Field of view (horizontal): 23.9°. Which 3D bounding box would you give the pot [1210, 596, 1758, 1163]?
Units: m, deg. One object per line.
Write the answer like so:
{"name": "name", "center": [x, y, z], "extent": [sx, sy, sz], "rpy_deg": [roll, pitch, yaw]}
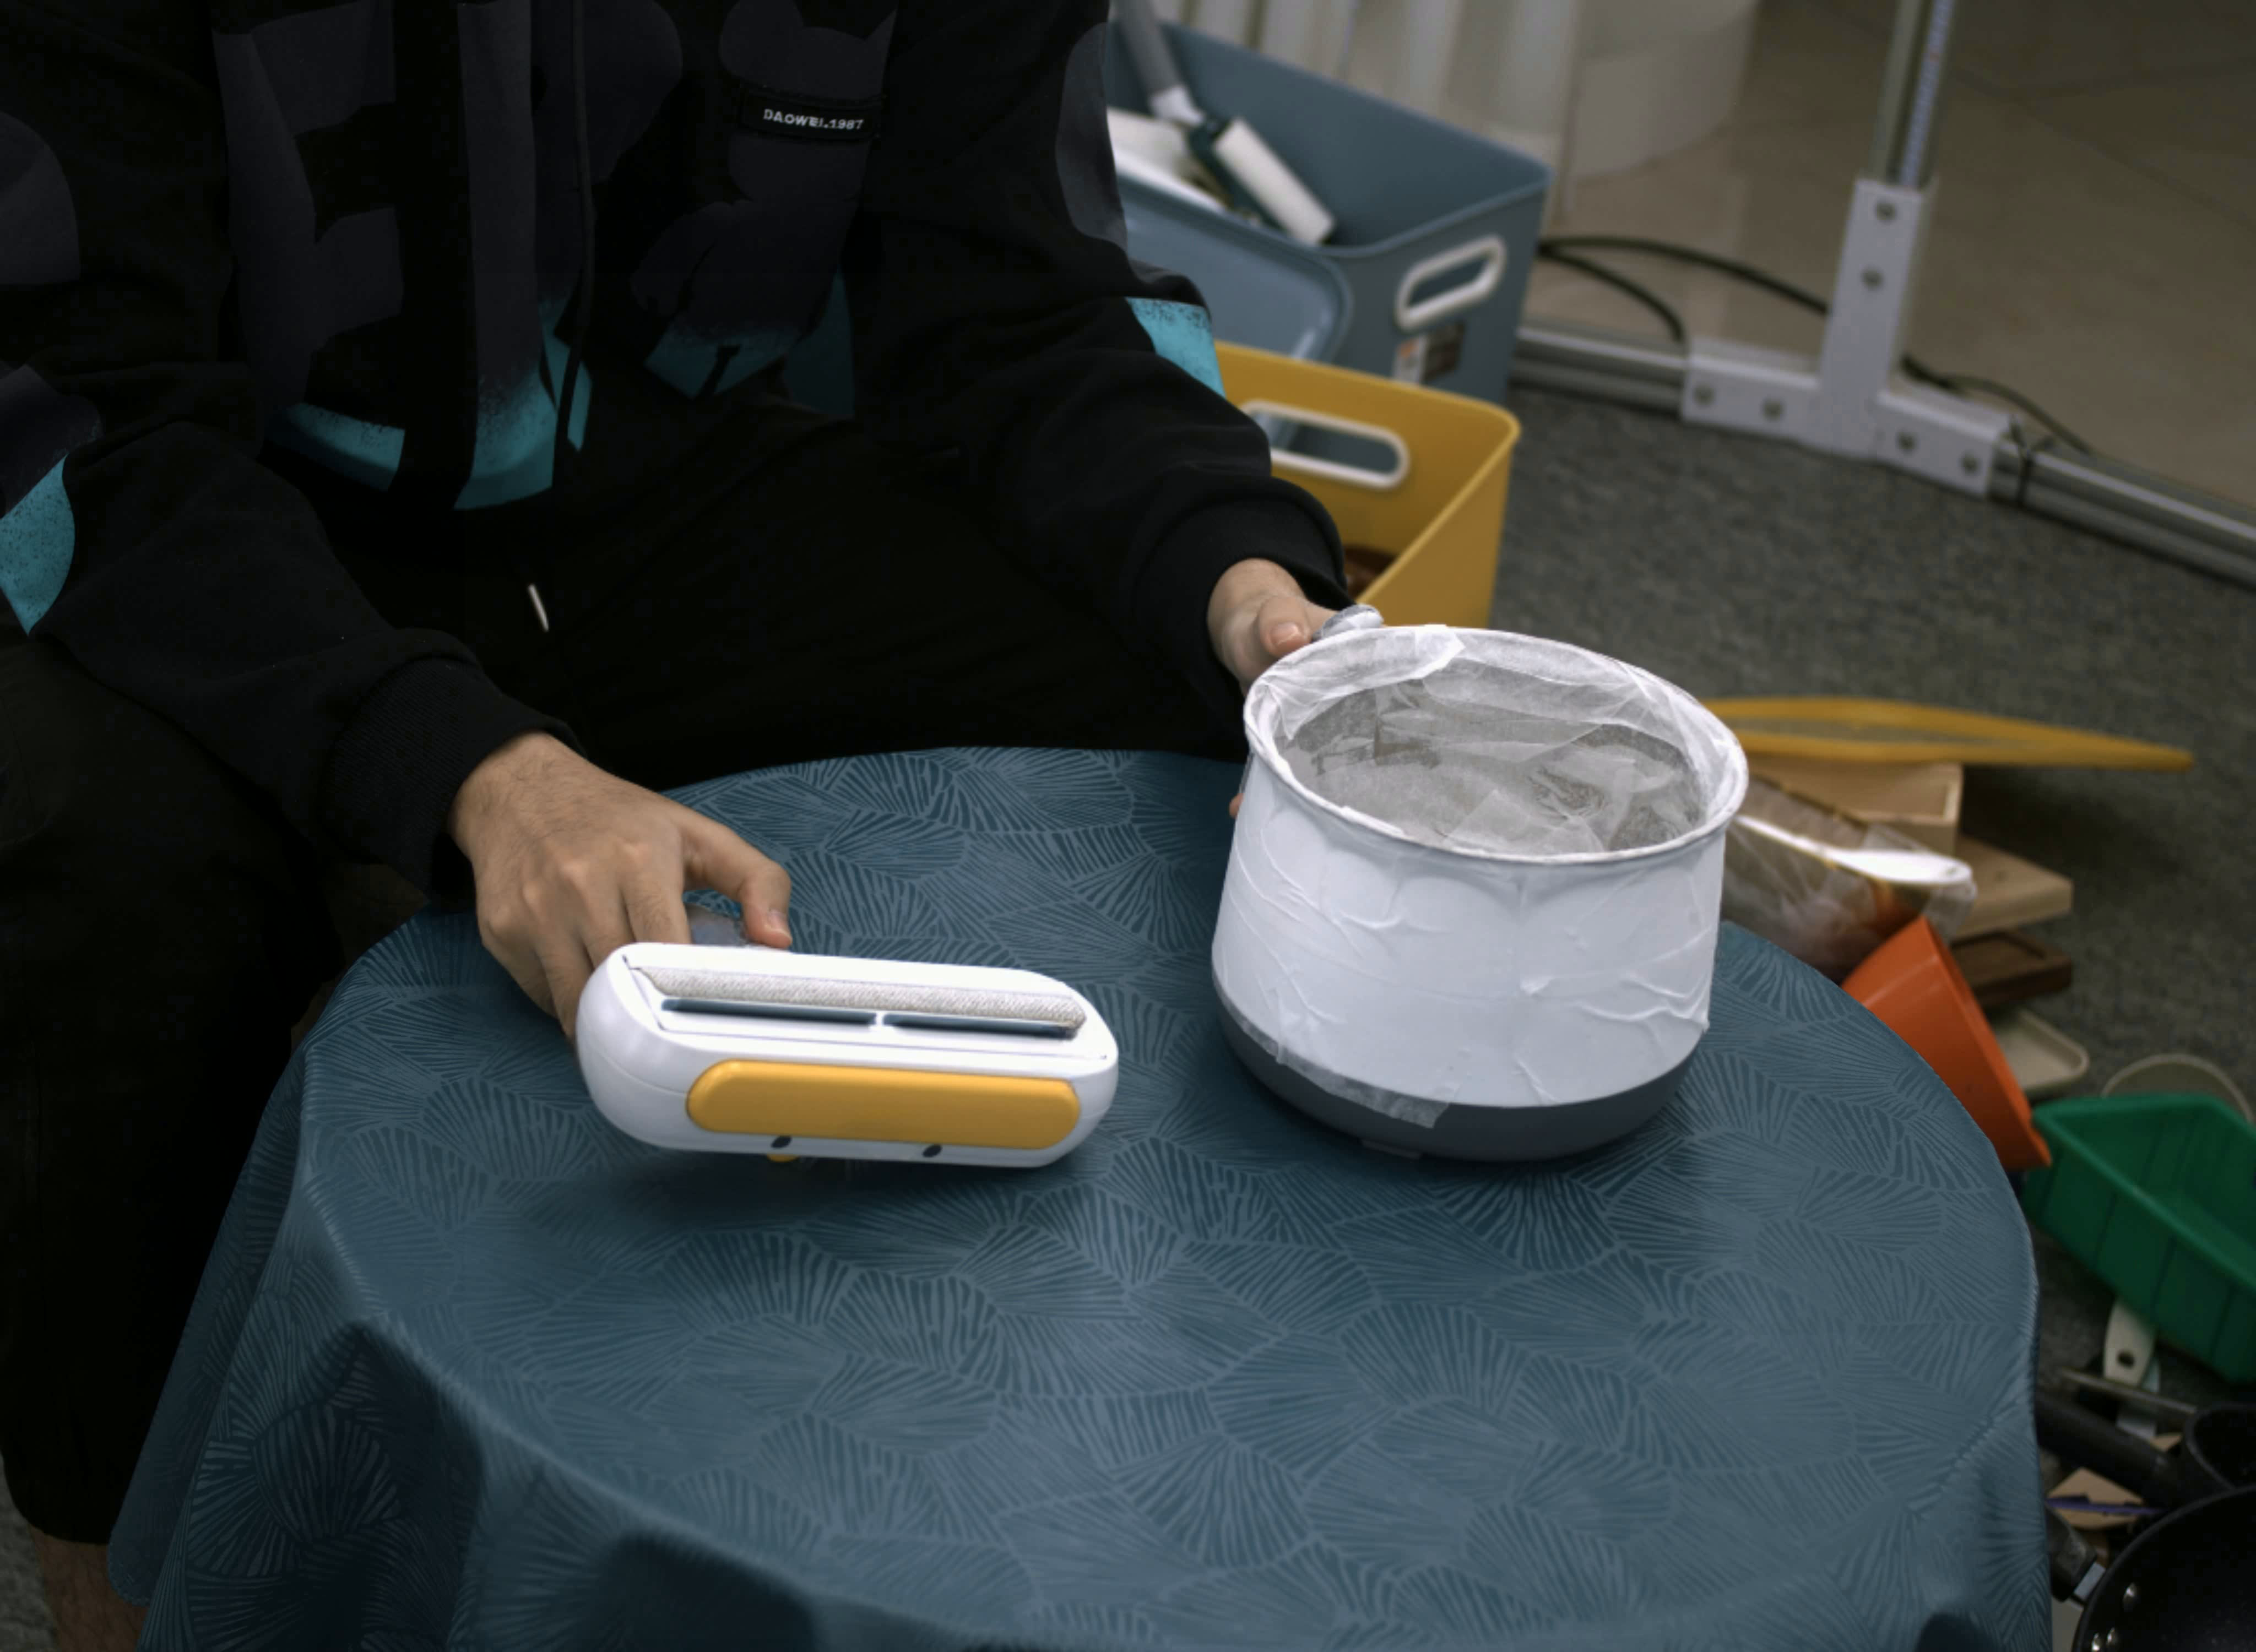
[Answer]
{"name": "pot", "center": [0.109, 0.012, 1.888], "extent": [0.177, 0.136, 0.236], "rpy_deg": [-6, 31, -27]}

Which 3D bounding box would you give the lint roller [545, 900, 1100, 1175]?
{"name": "lint roller", "center": [-0.124, 0.059, 1.825], "extent": [0.191, 0.074, 0.194], "rpy_deg": [2, 24, -25]}
